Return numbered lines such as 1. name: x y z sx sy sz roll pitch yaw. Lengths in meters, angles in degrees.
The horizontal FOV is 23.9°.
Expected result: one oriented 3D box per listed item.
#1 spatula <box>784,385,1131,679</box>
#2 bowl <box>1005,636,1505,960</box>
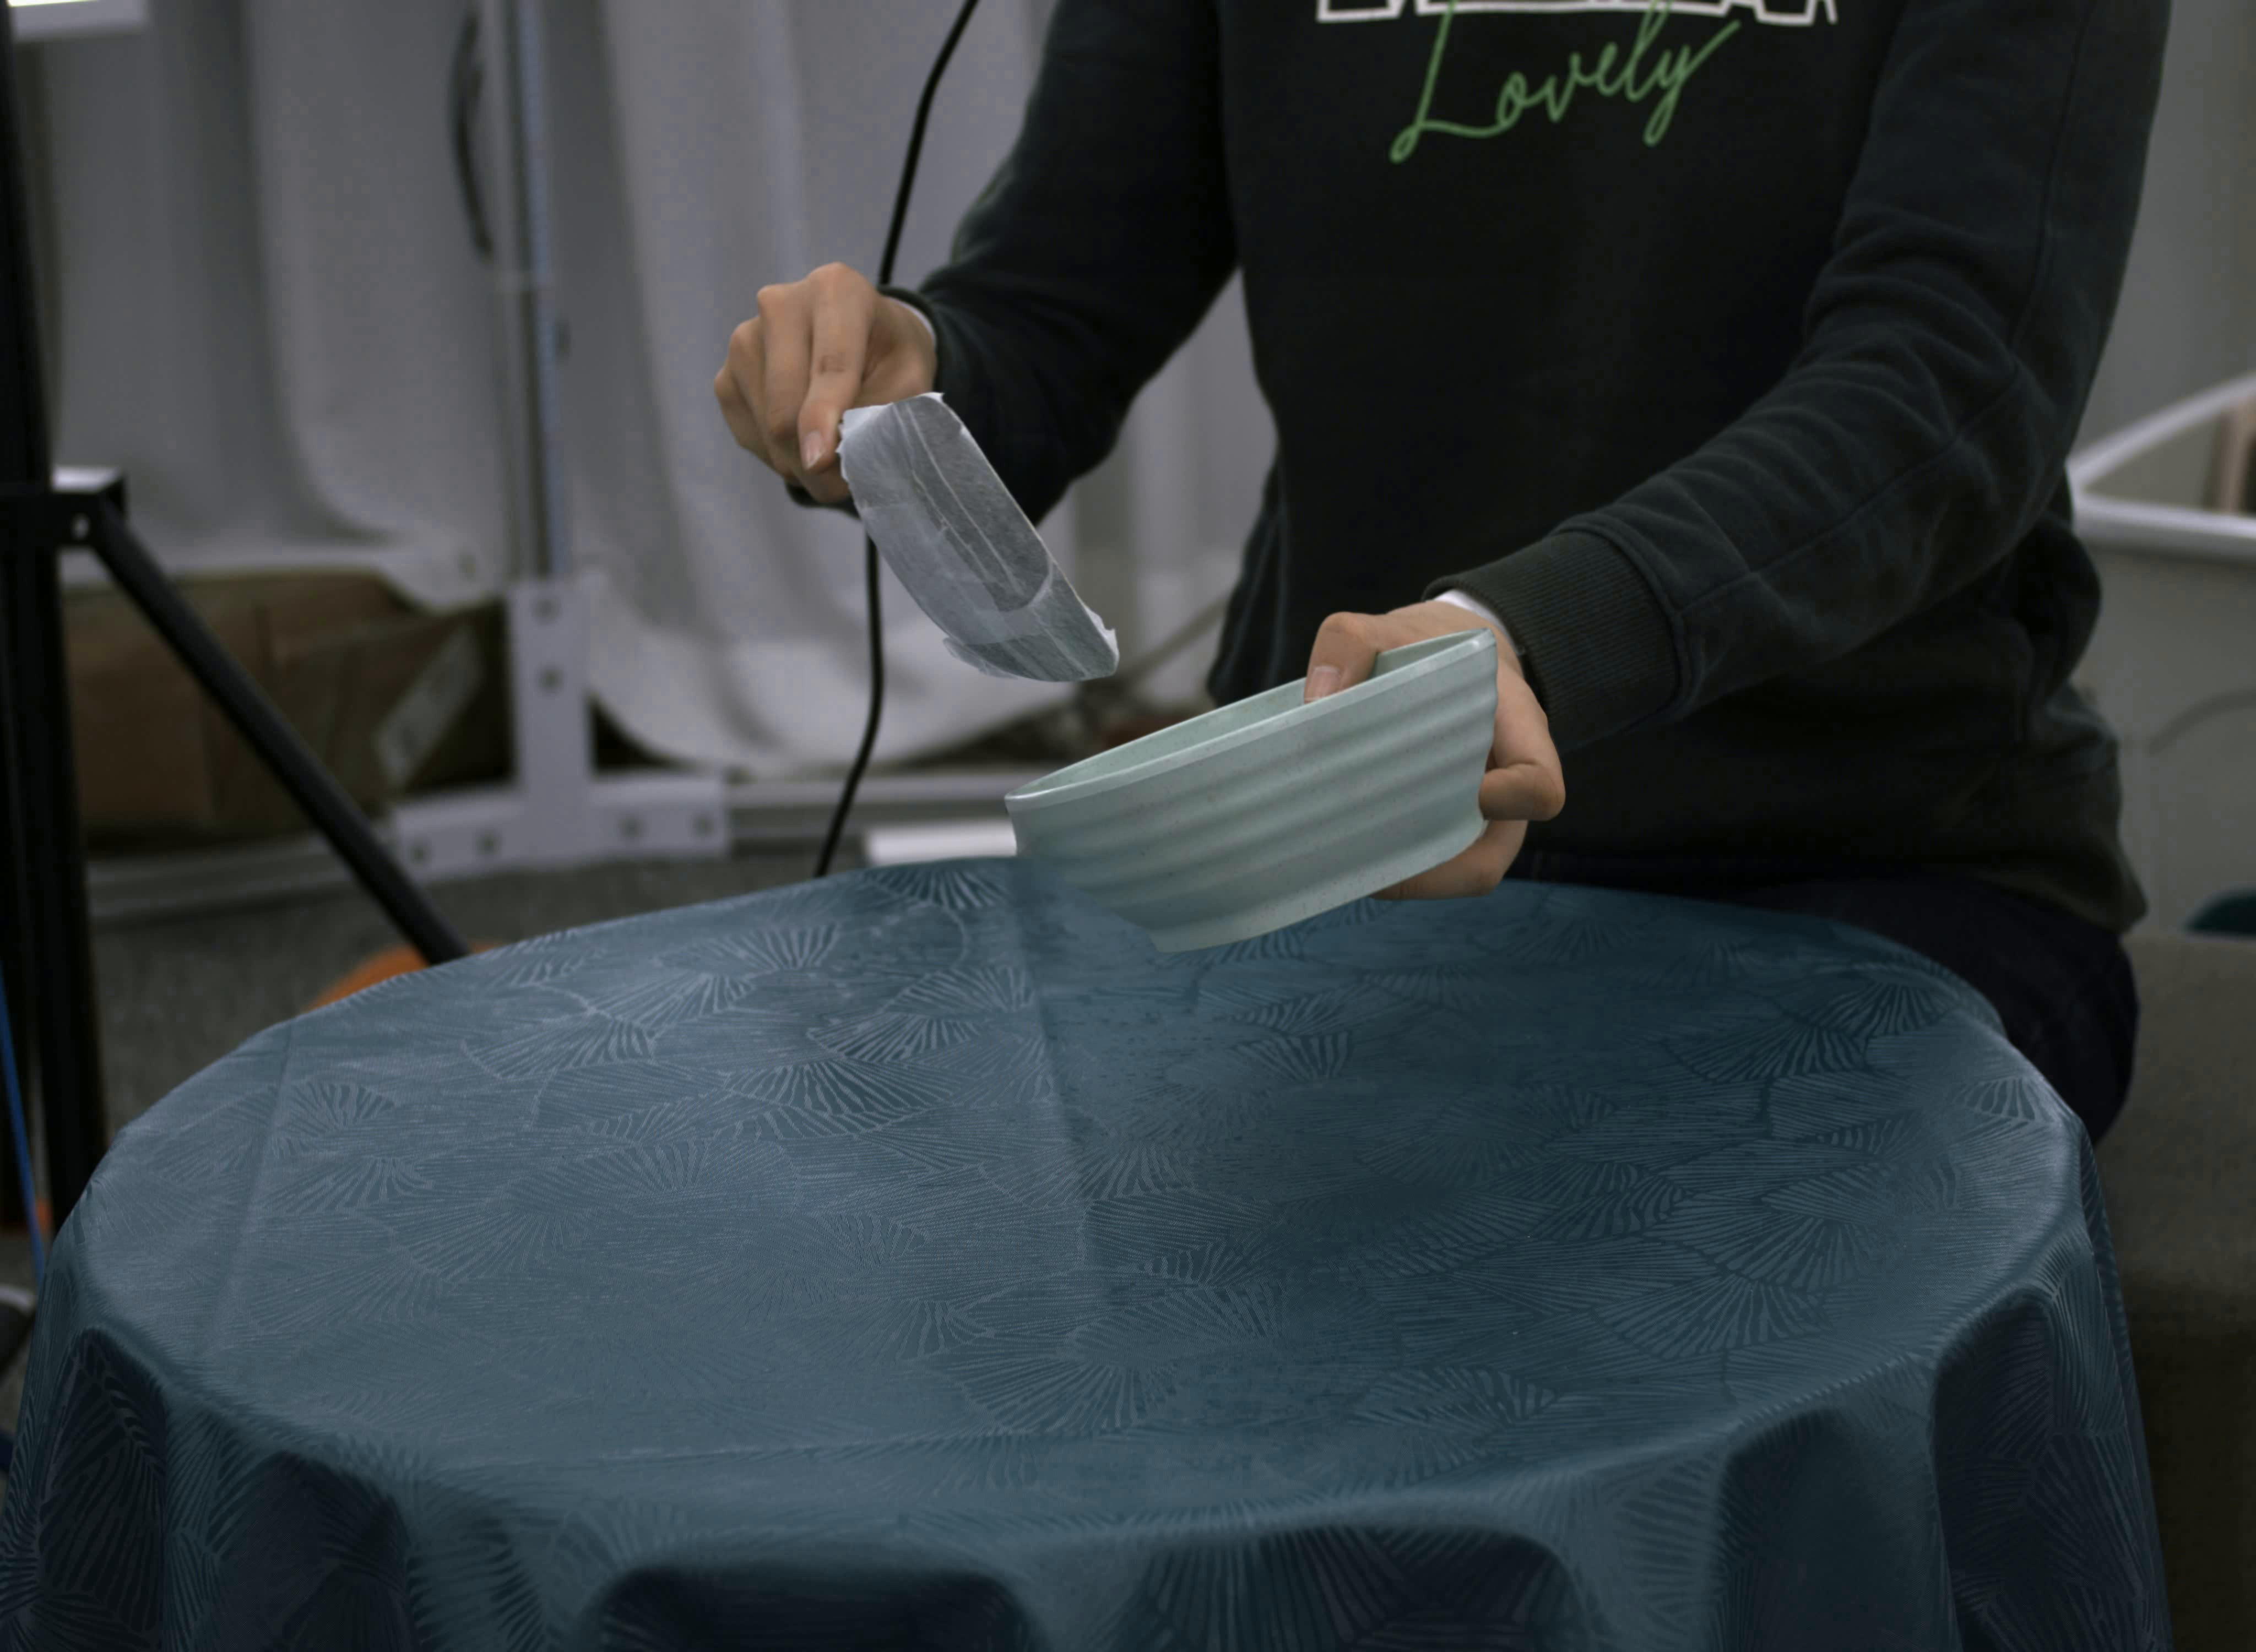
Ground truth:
1. spatula: -0.069 -0.104 1.644 0.044 0.098 0.368 -36 14 -2
2. bowl: 0.043 -0.003 1.501 0.151 0.059 0.152 -19 6 1
